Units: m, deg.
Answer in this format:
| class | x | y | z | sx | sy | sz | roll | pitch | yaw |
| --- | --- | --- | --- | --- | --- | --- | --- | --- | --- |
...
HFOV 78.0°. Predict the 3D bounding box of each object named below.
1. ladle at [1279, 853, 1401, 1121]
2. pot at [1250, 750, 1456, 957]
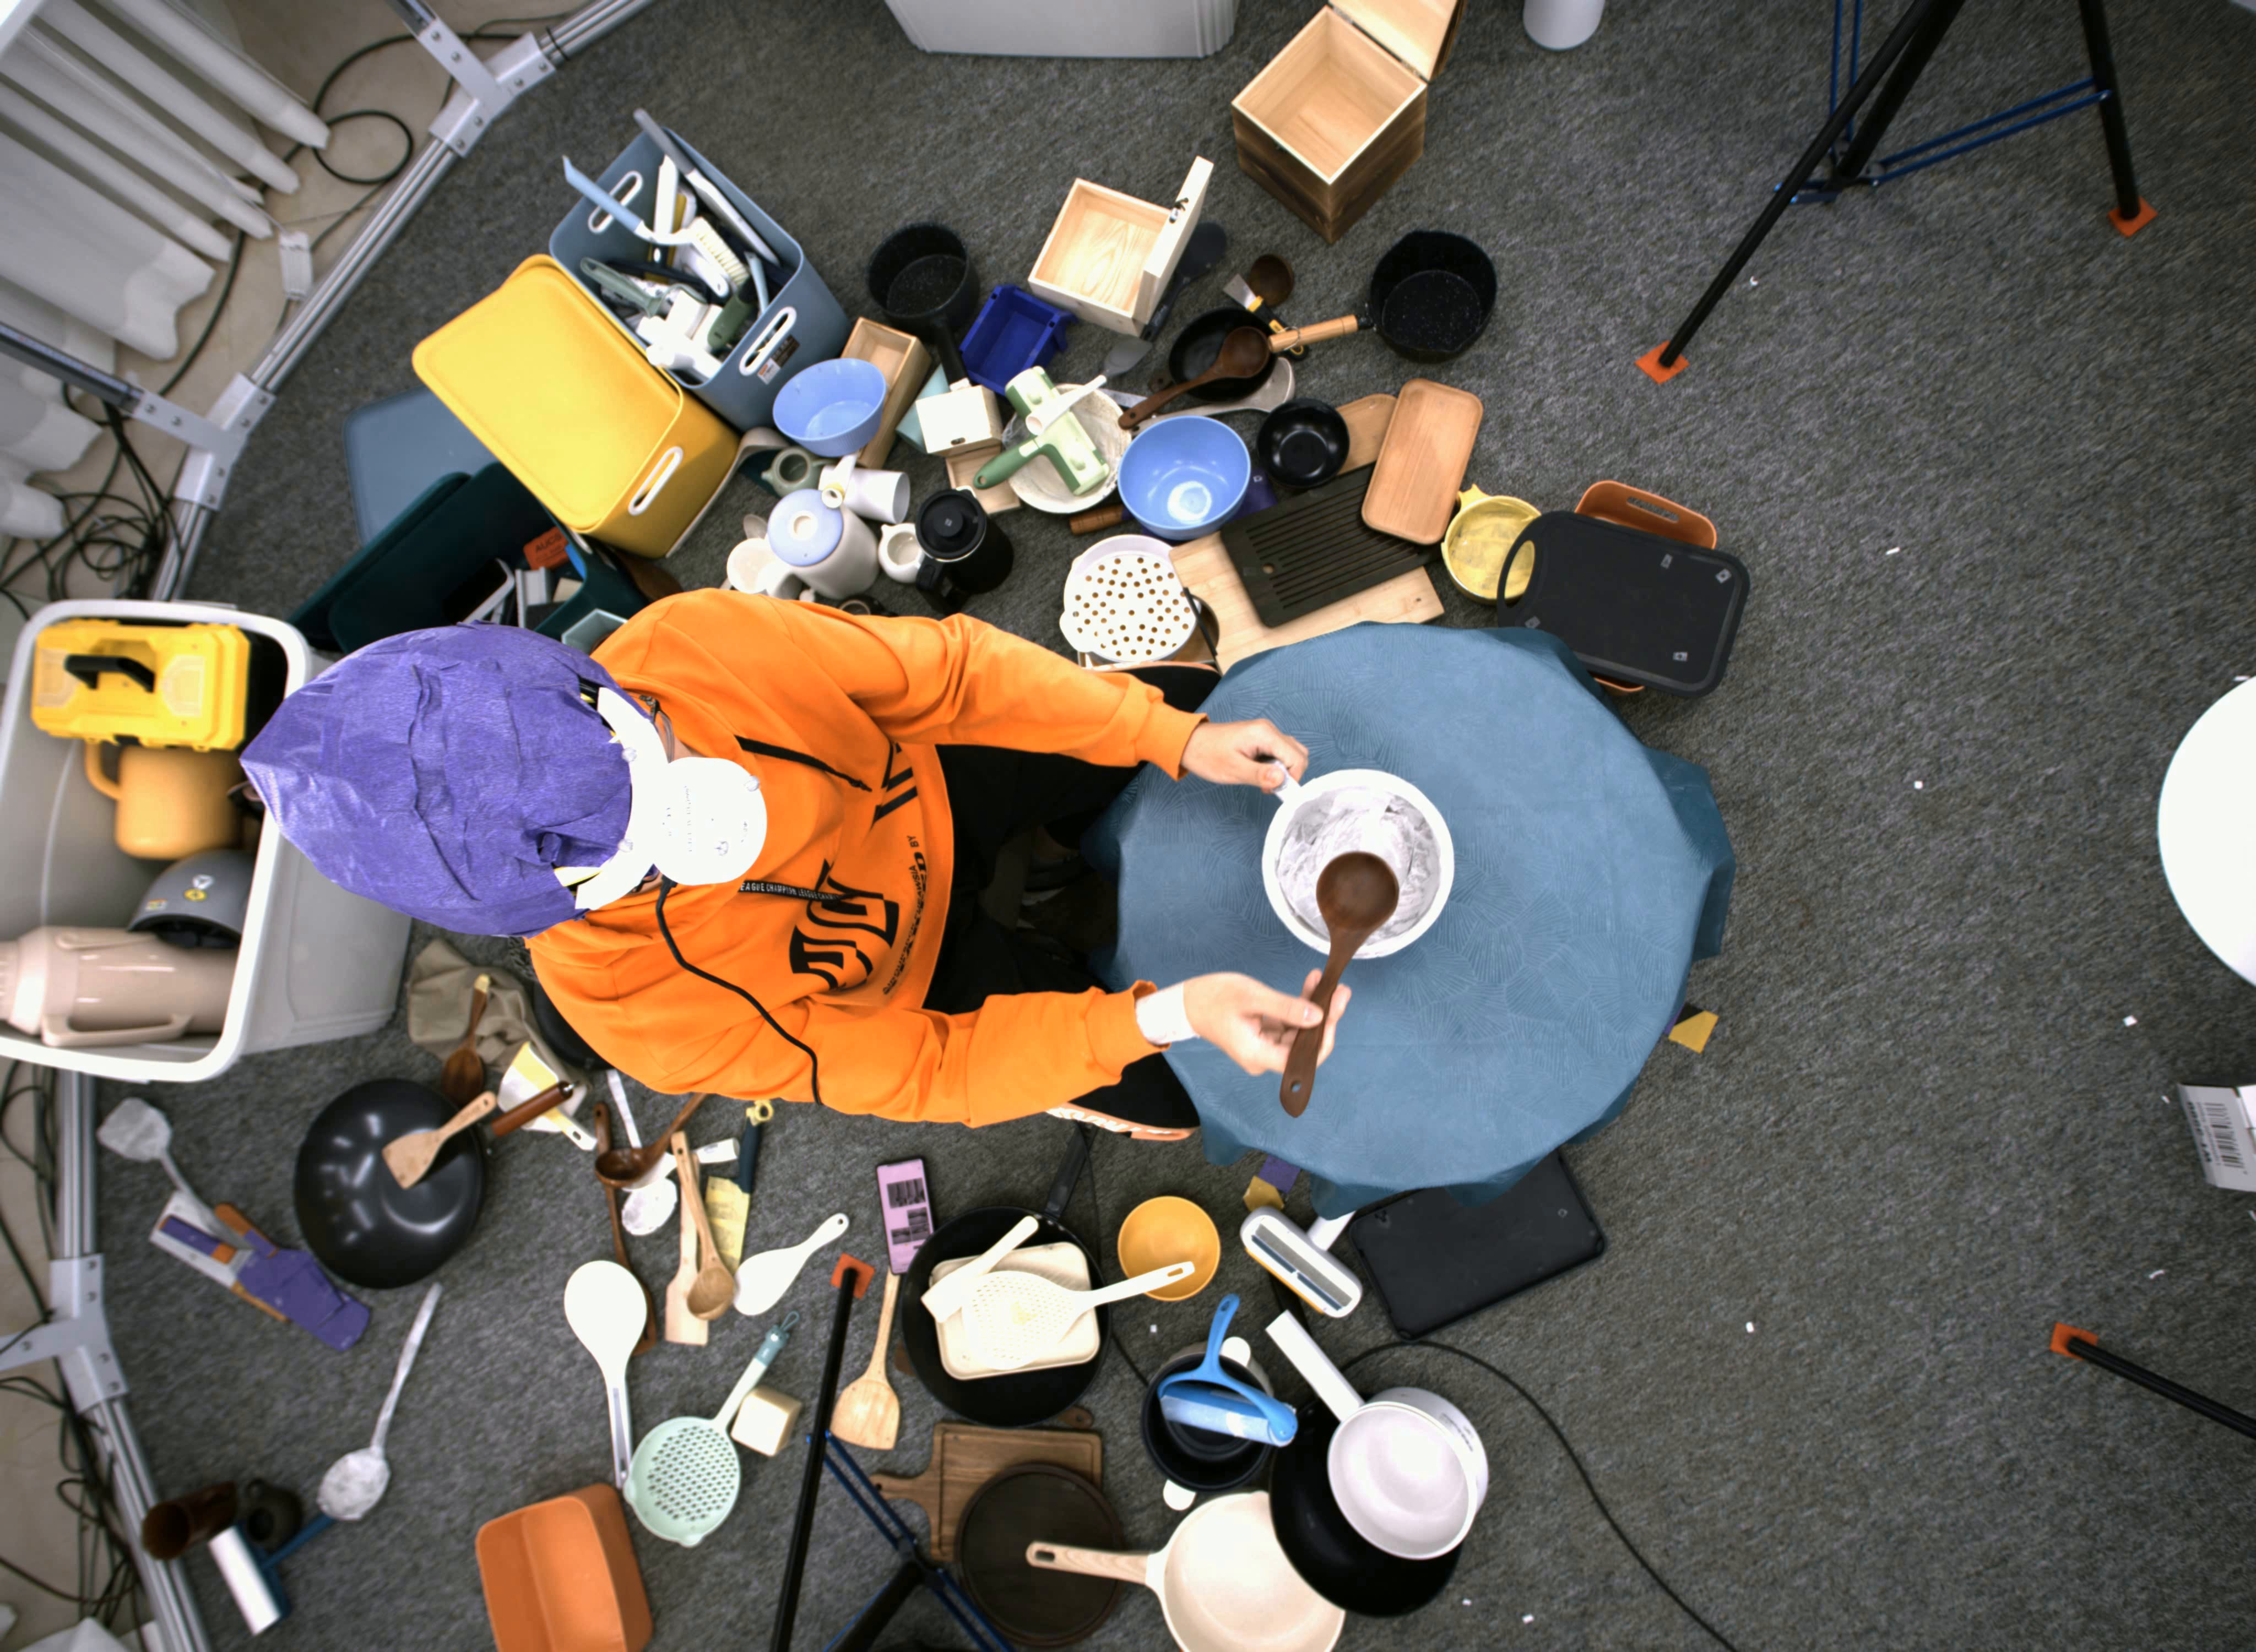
| class | x | y | z | sx | sy | sz | roll | pitch | yaw |
| --- | --- | --- | --- | --- | --- | --- | --- | --- | --- |
| ladle | 0.171 | 0.129 | 1.182 | 0.077 | 0.066 | 0.253 | 5 | 47 | 28 |
| pot | 0.206 | 0.015 | 1.349 | 0.180 | 0.136 | 0.233 | -45 | 83 | 6 |
